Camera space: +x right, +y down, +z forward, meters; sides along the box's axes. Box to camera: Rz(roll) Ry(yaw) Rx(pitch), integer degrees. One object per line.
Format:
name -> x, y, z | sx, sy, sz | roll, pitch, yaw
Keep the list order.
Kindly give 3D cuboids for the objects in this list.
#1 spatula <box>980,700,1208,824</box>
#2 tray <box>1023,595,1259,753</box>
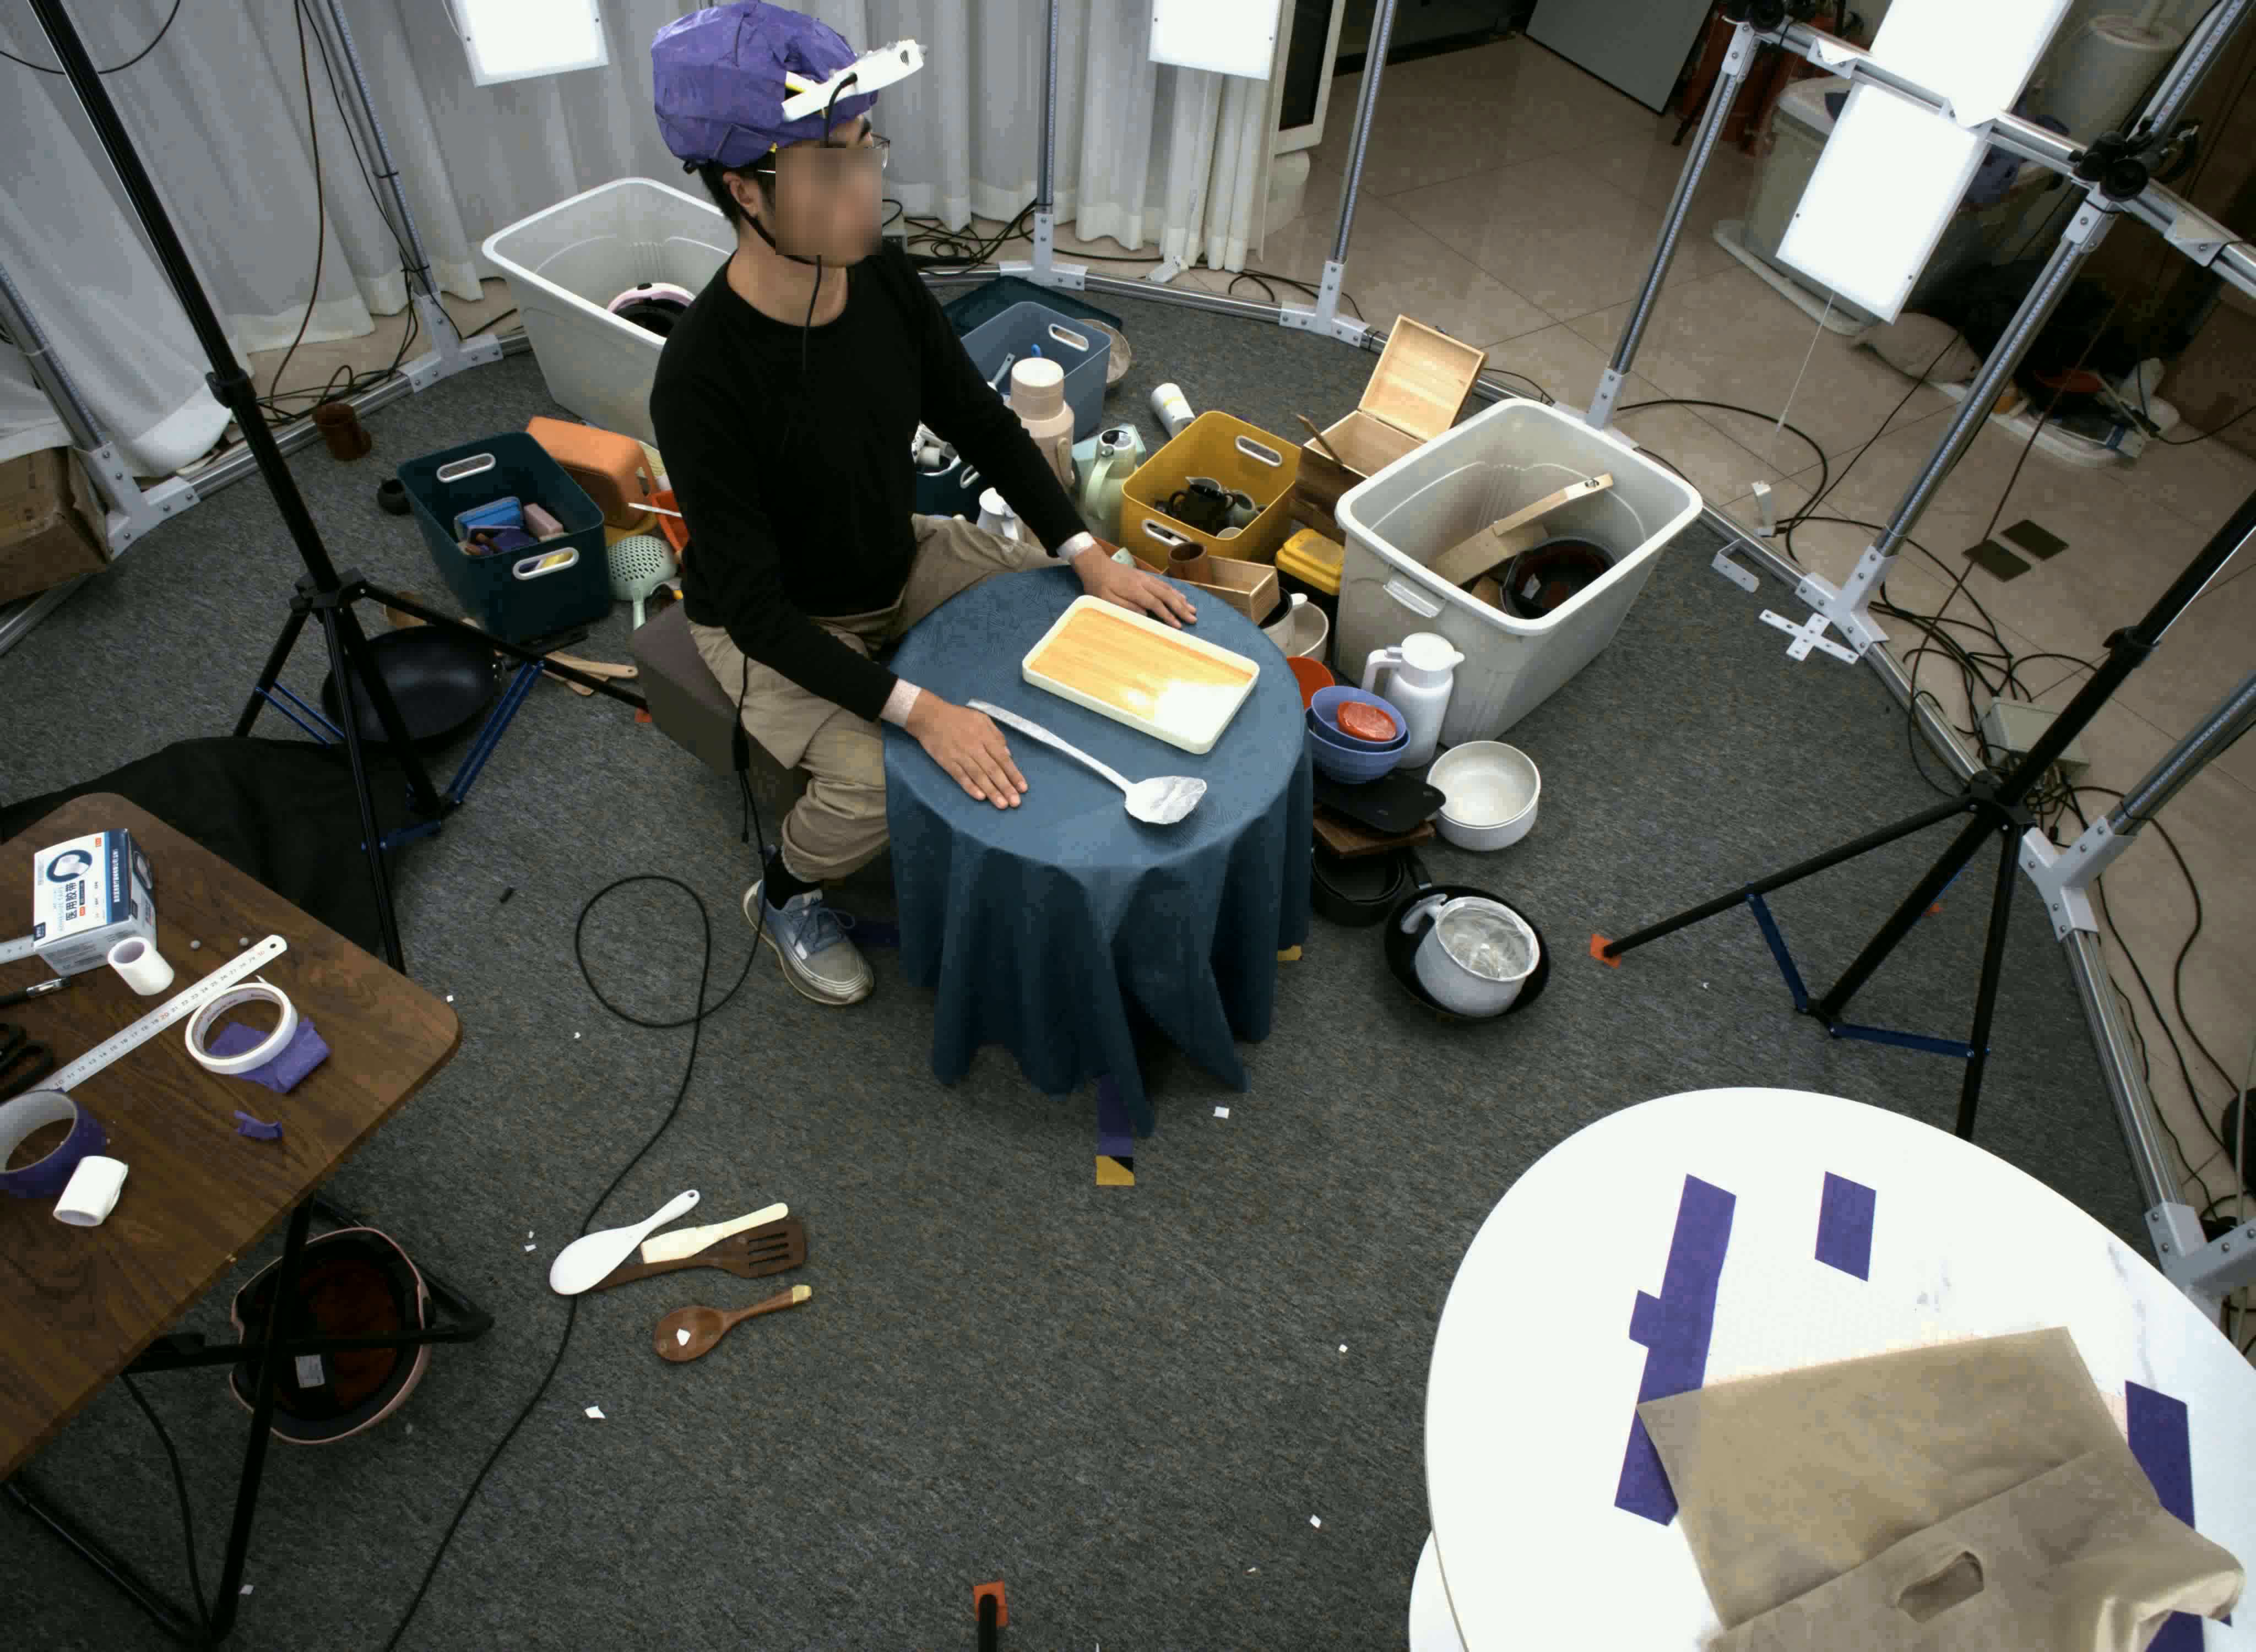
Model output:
spatula -> -0.063, -0.099, 1.727 | 0.368, 0.044, 0.100 | 30, 54, 20
tray -> 0.019, -0.223, 1.847 | 0.302, 0.027, 0.195 | 25, 52, 17
